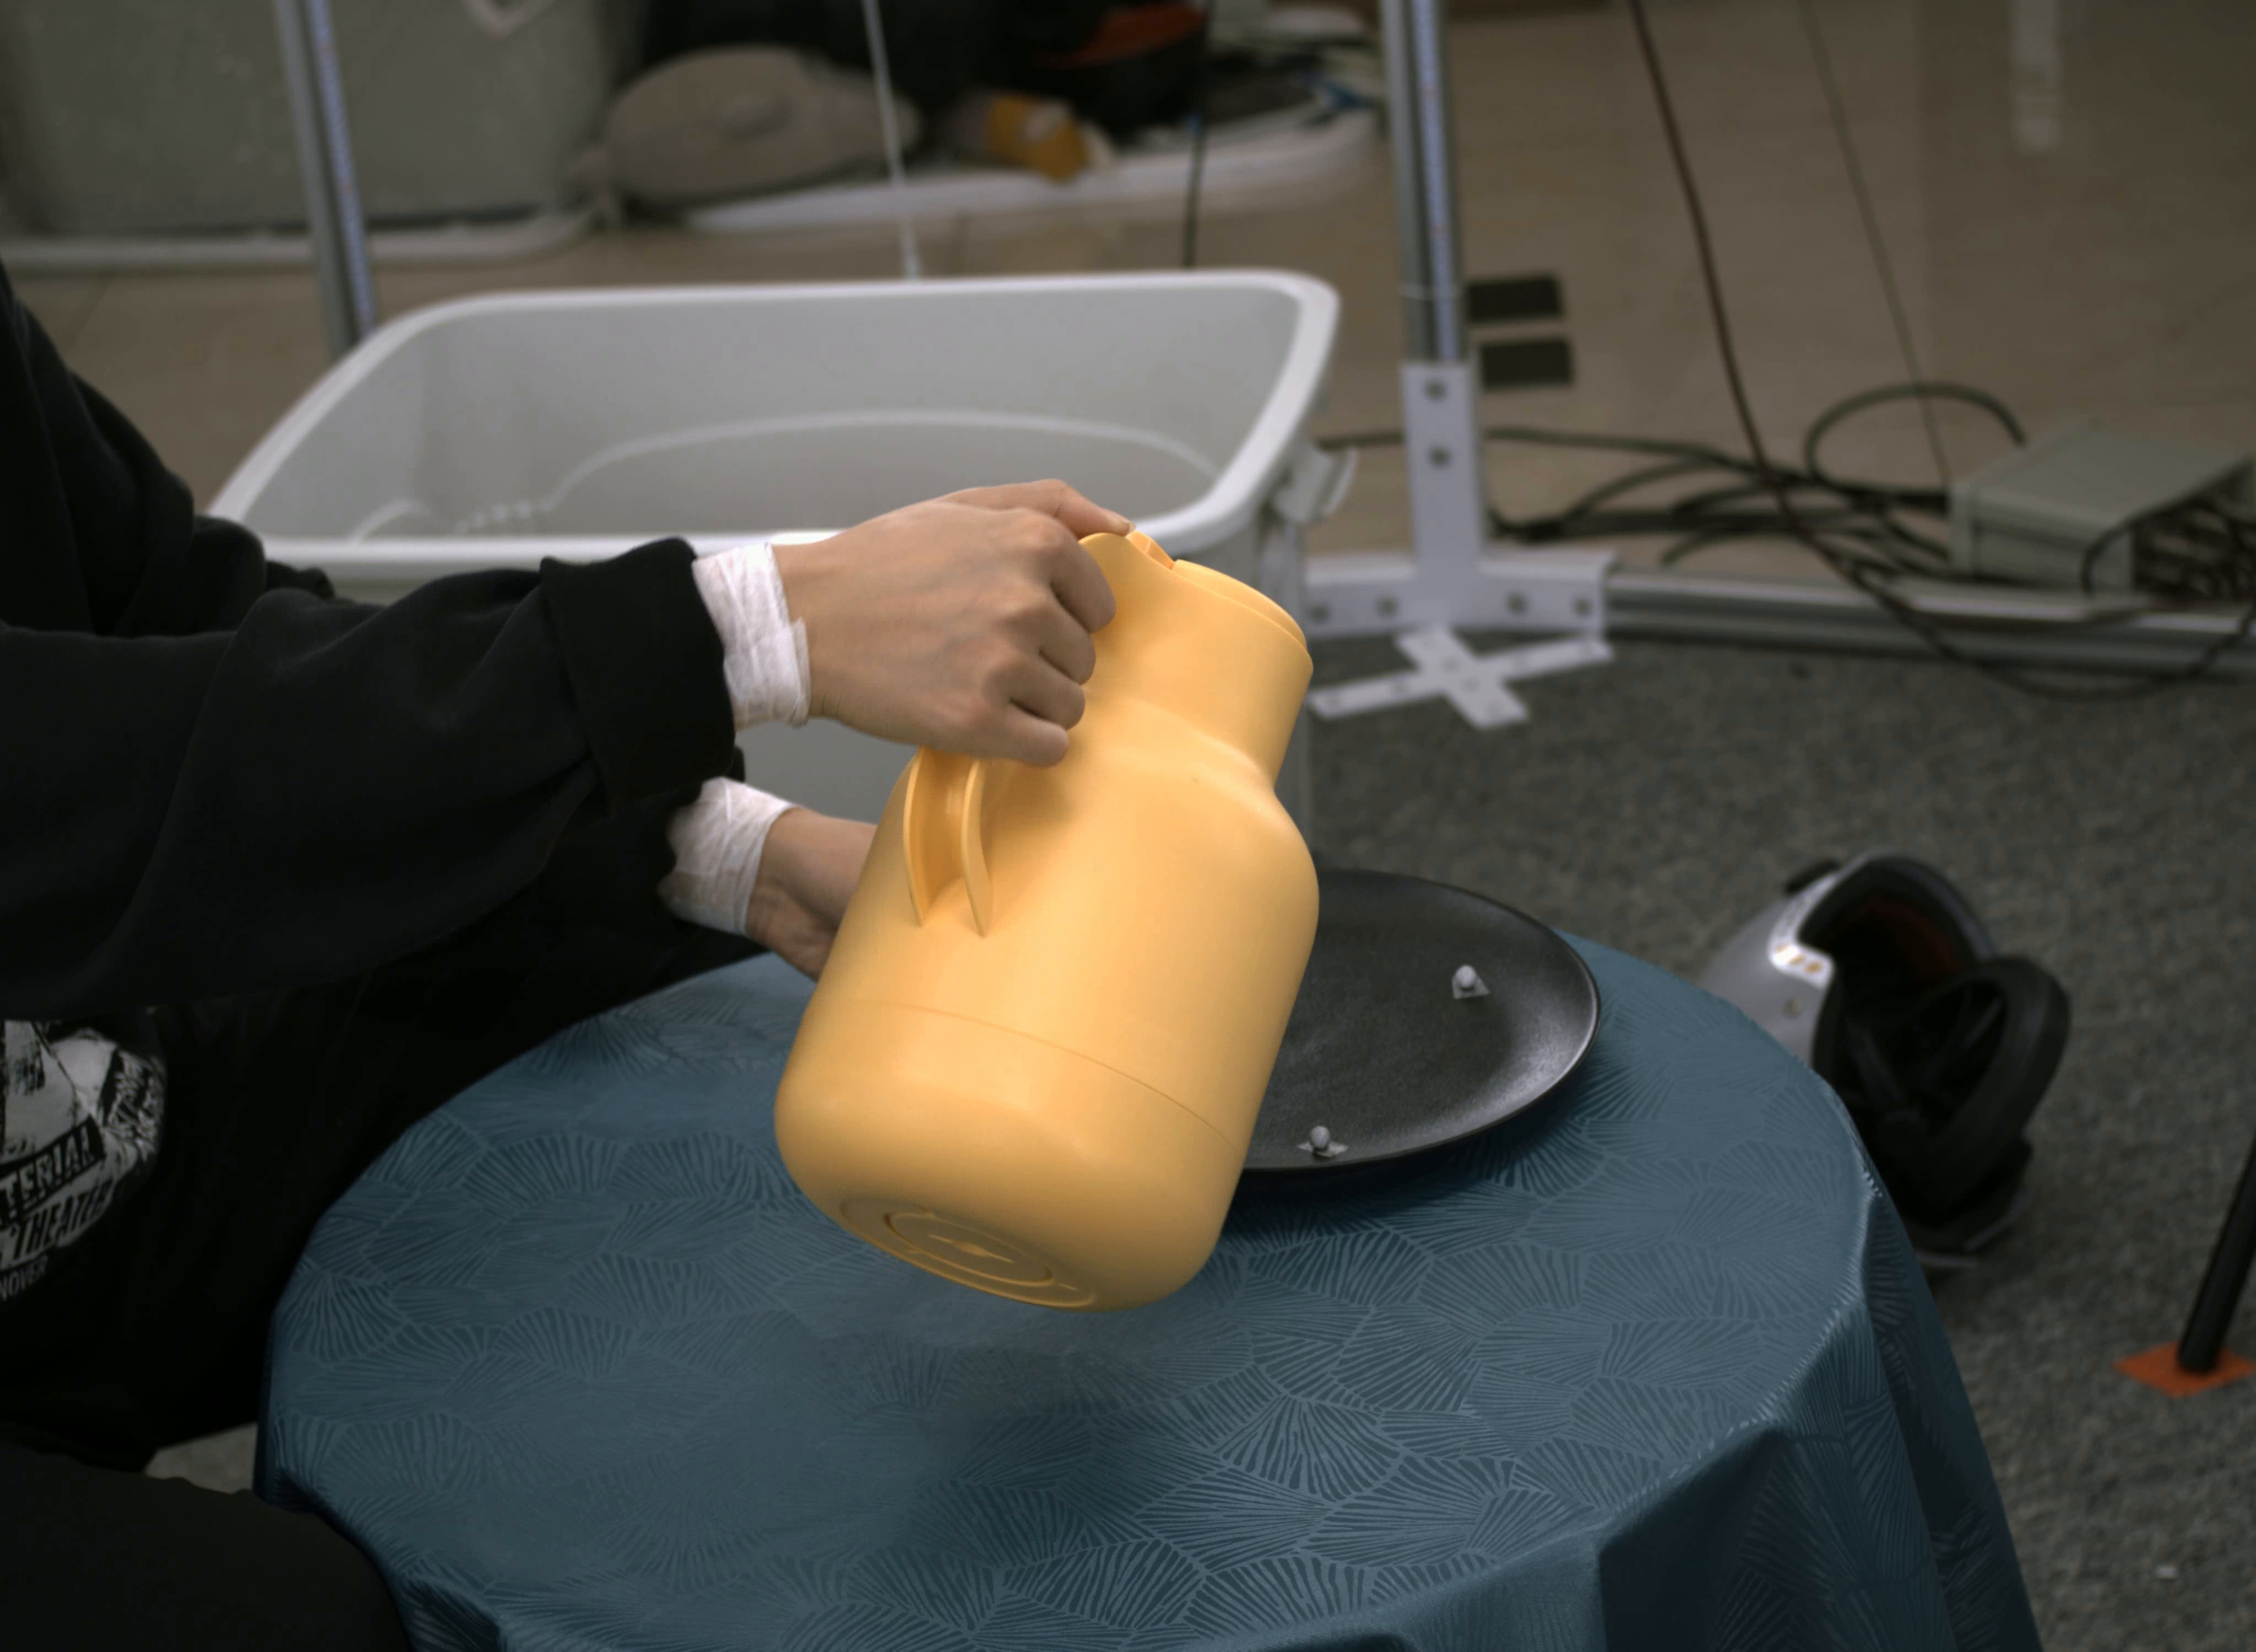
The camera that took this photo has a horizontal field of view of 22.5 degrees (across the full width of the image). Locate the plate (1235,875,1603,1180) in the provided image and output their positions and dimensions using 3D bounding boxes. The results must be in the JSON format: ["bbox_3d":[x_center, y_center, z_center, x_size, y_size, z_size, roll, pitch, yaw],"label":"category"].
[{"bbox_3d":[0.064,0.082,2.215,0.244,0.024,0.240,-3,27,1],"label":"plate"}]

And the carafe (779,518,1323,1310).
[{"bbox_3d":[-0.024,0.022,1.994,0.163,0.205,0.257,6,66,31],"label":"carafe"}]
